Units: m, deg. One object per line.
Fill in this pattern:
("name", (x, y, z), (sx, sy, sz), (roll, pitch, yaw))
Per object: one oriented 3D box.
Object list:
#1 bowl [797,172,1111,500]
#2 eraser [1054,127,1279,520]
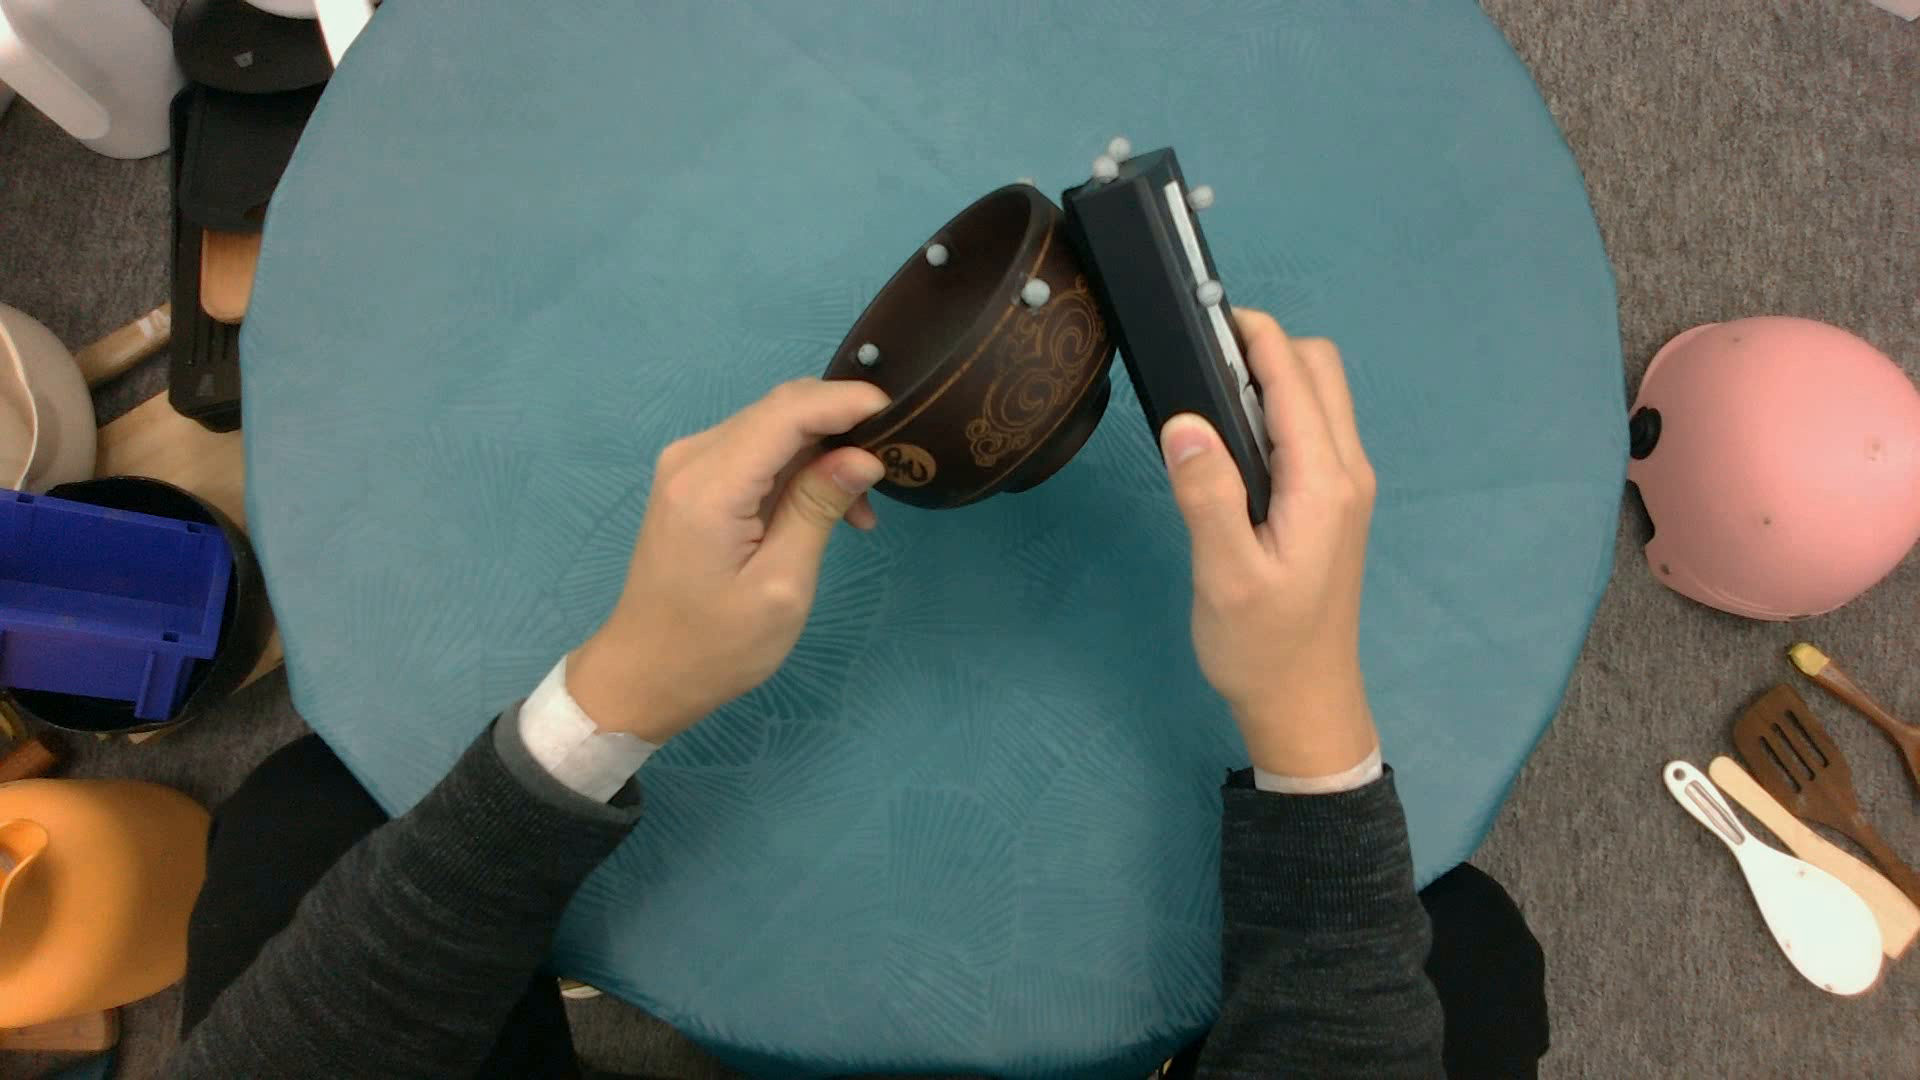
("bowl", (0.006, -0.064, 0.487), (0.070, 0.118, 0.118), (39, 78, -25))
("eraser", (0.072, -0.072, 0.468), (0.030, 0.054, 0.125), (-14, 110, 29))
